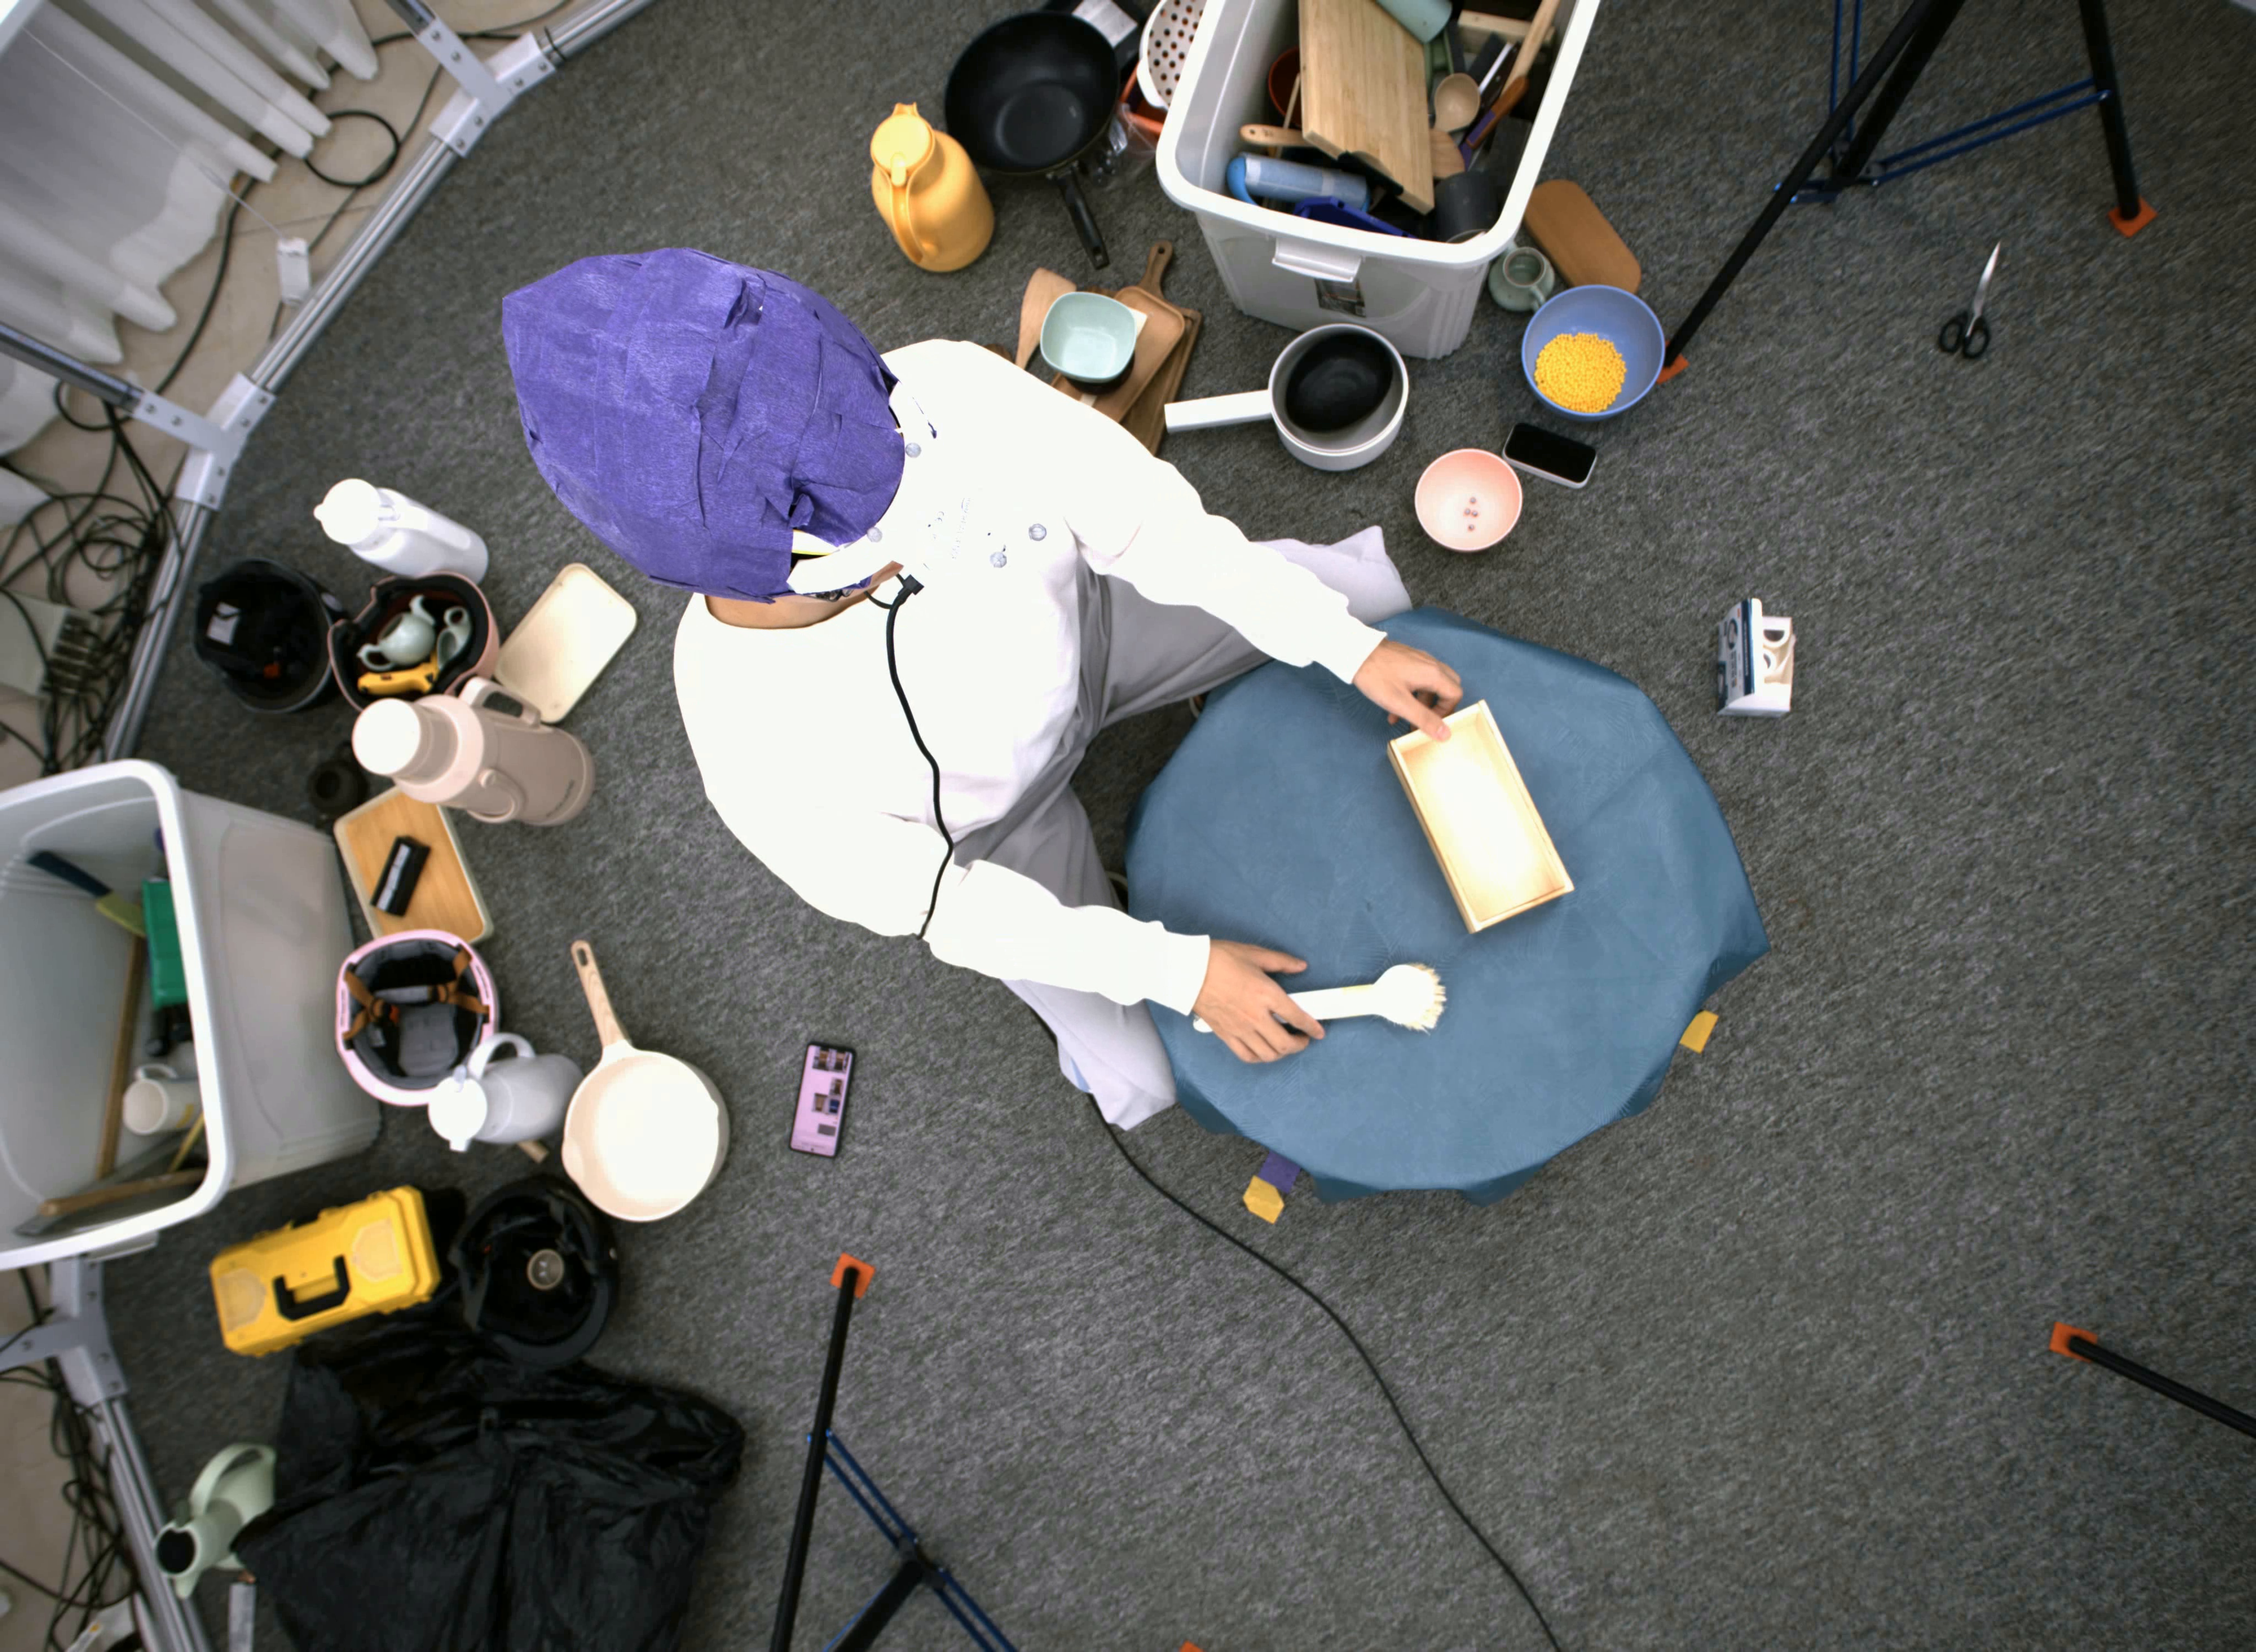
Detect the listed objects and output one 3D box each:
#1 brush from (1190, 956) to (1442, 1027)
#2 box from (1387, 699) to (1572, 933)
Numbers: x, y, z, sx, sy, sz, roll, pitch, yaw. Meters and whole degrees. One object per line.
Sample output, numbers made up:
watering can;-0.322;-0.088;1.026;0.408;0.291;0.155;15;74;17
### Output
brush;0.197;0.184;1.459;0.269;0.057;0.067;-13;63;24
box;0.357;-0.010;1.407;0.108;0.080;0.210;-24;82;9
